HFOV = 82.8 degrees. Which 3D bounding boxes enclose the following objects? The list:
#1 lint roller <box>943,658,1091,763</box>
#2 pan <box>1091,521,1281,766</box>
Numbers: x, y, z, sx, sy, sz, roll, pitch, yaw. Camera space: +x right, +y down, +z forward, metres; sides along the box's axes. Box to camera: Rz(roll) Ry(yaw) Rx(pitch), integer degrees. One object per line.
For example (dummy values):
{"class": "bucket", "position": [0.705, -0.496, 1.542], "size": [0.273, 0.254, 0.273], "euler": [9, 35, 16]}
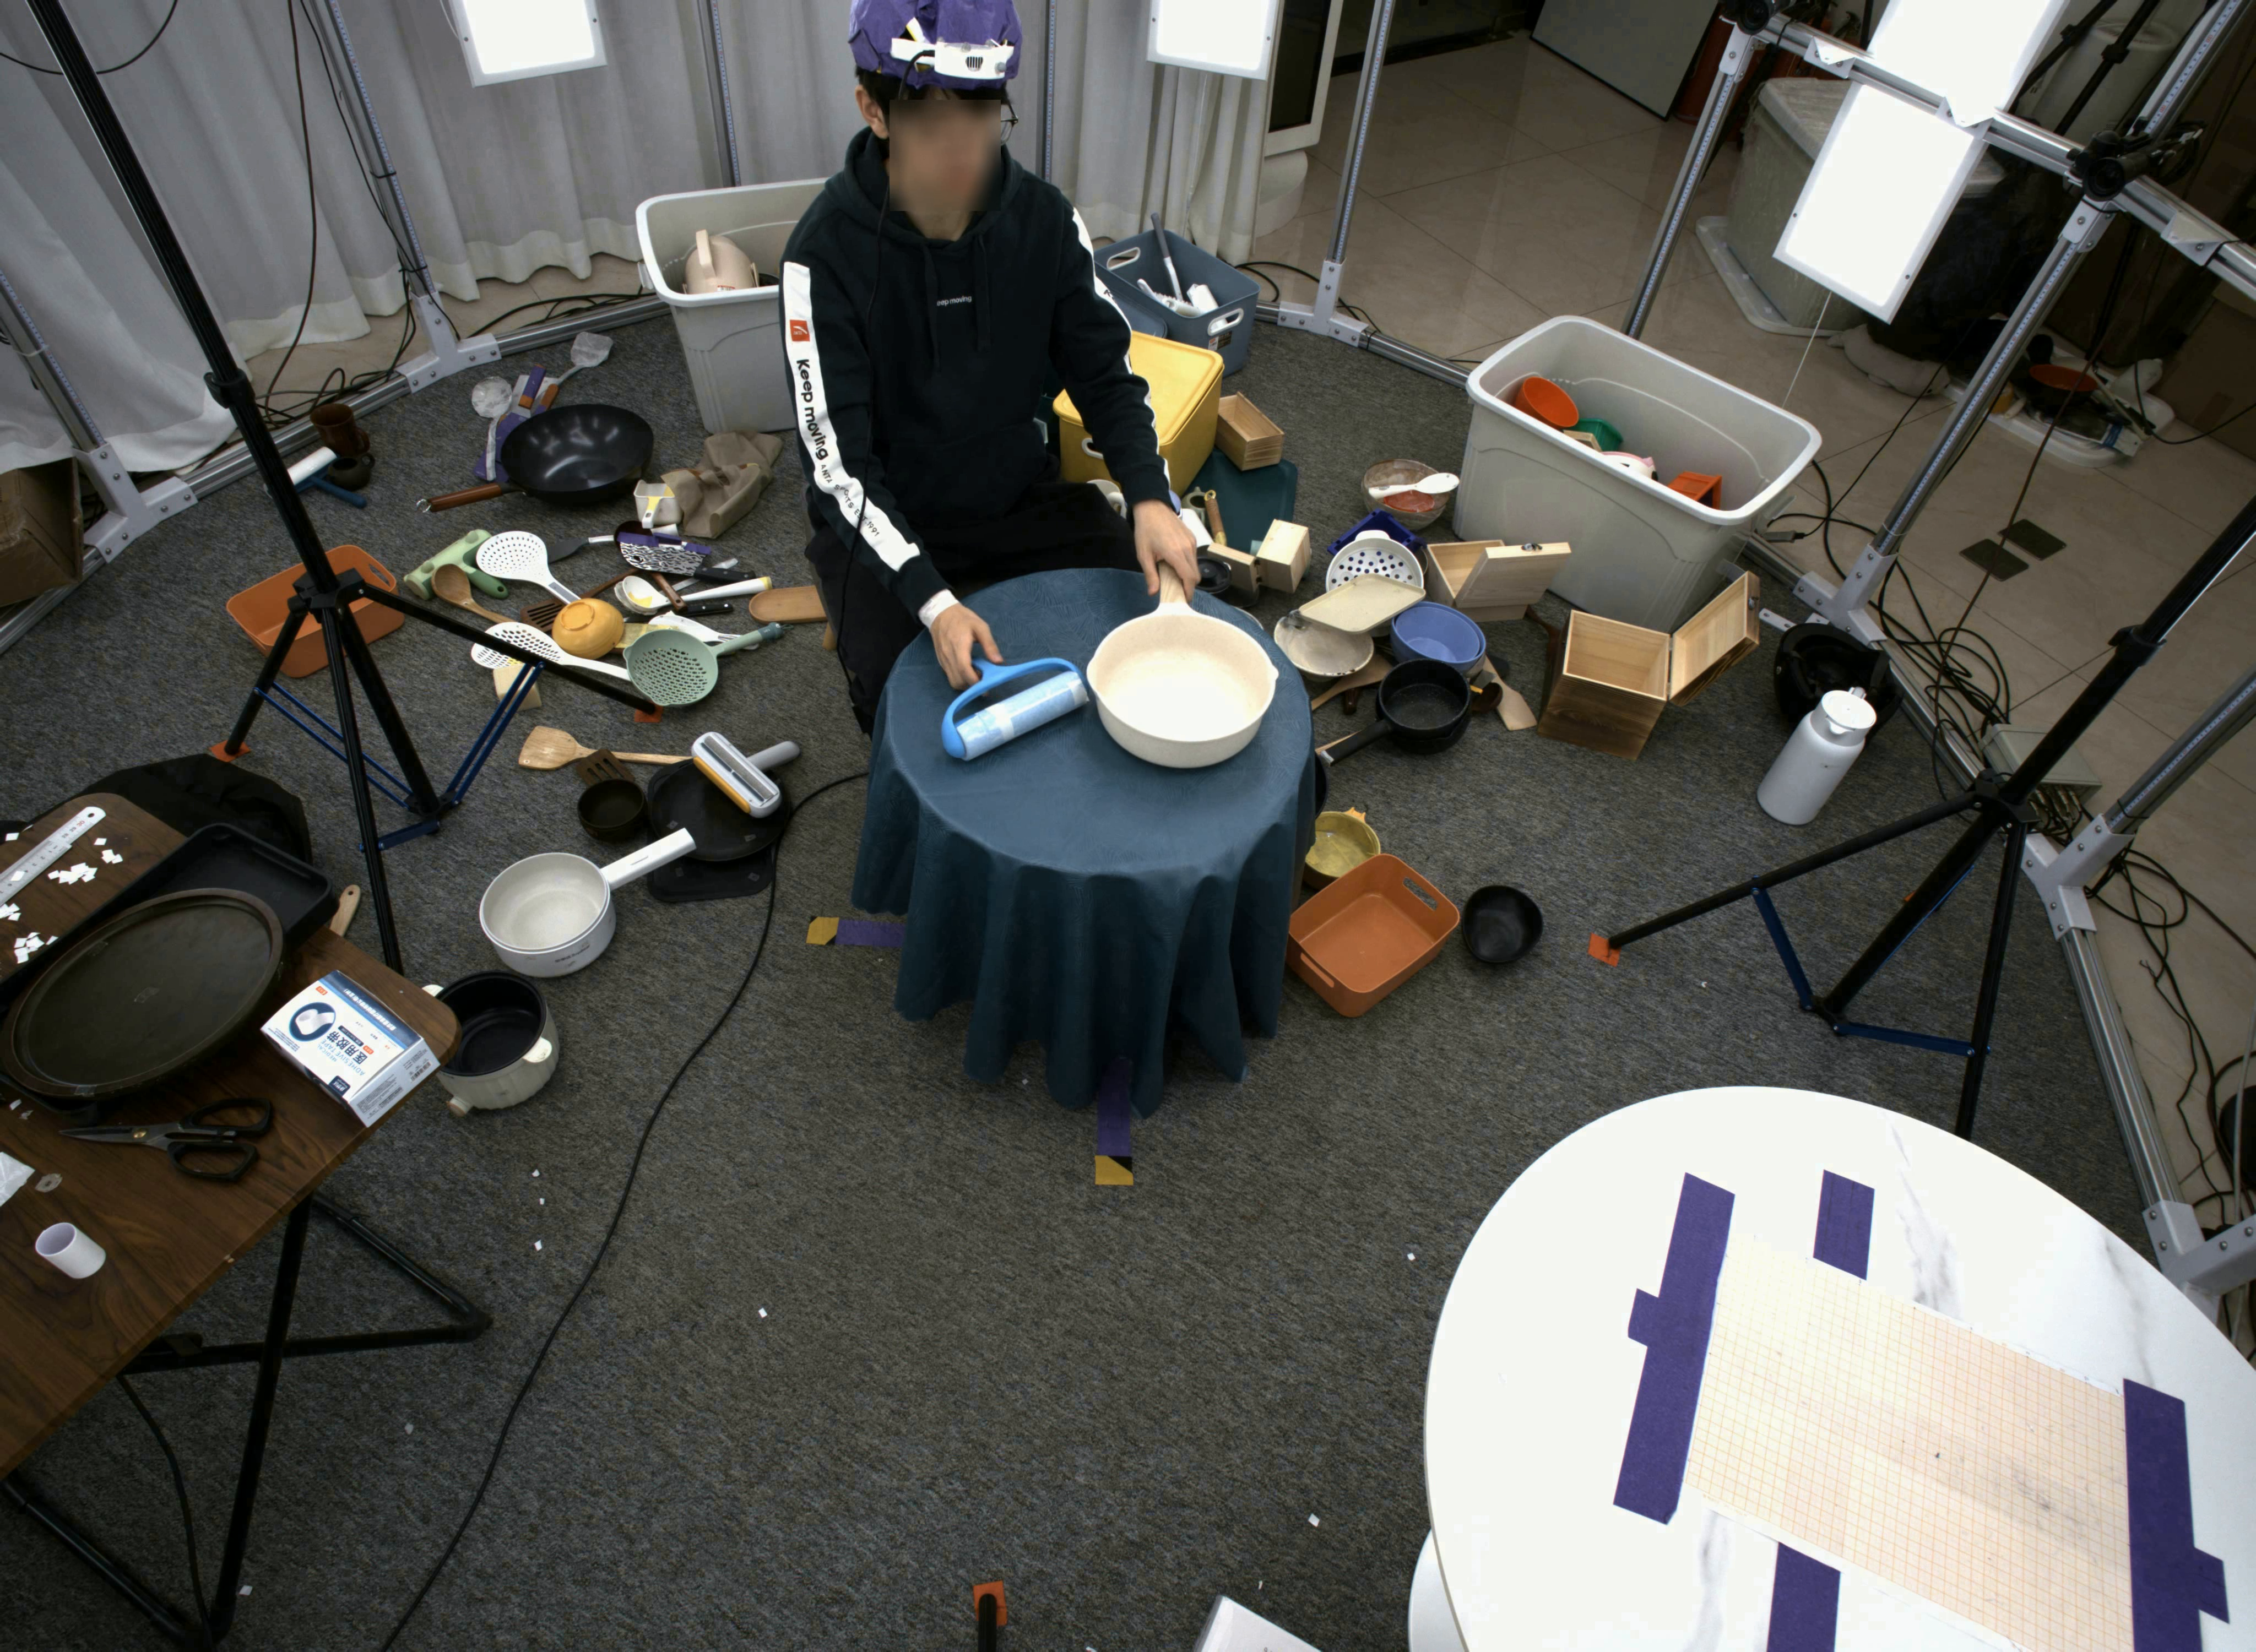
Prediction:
{"class": "lint roller", "position": [-0.185, -0.190, 1.784], "size": [0.230, 0.066, 0.183], "euler": [-31, 59, -25]}
{"class": "pan", "position": [0.070, -0.260, 1.833], "size": [0.263, 0.099, 0.446], "euler": [-3, 49, -5]}
